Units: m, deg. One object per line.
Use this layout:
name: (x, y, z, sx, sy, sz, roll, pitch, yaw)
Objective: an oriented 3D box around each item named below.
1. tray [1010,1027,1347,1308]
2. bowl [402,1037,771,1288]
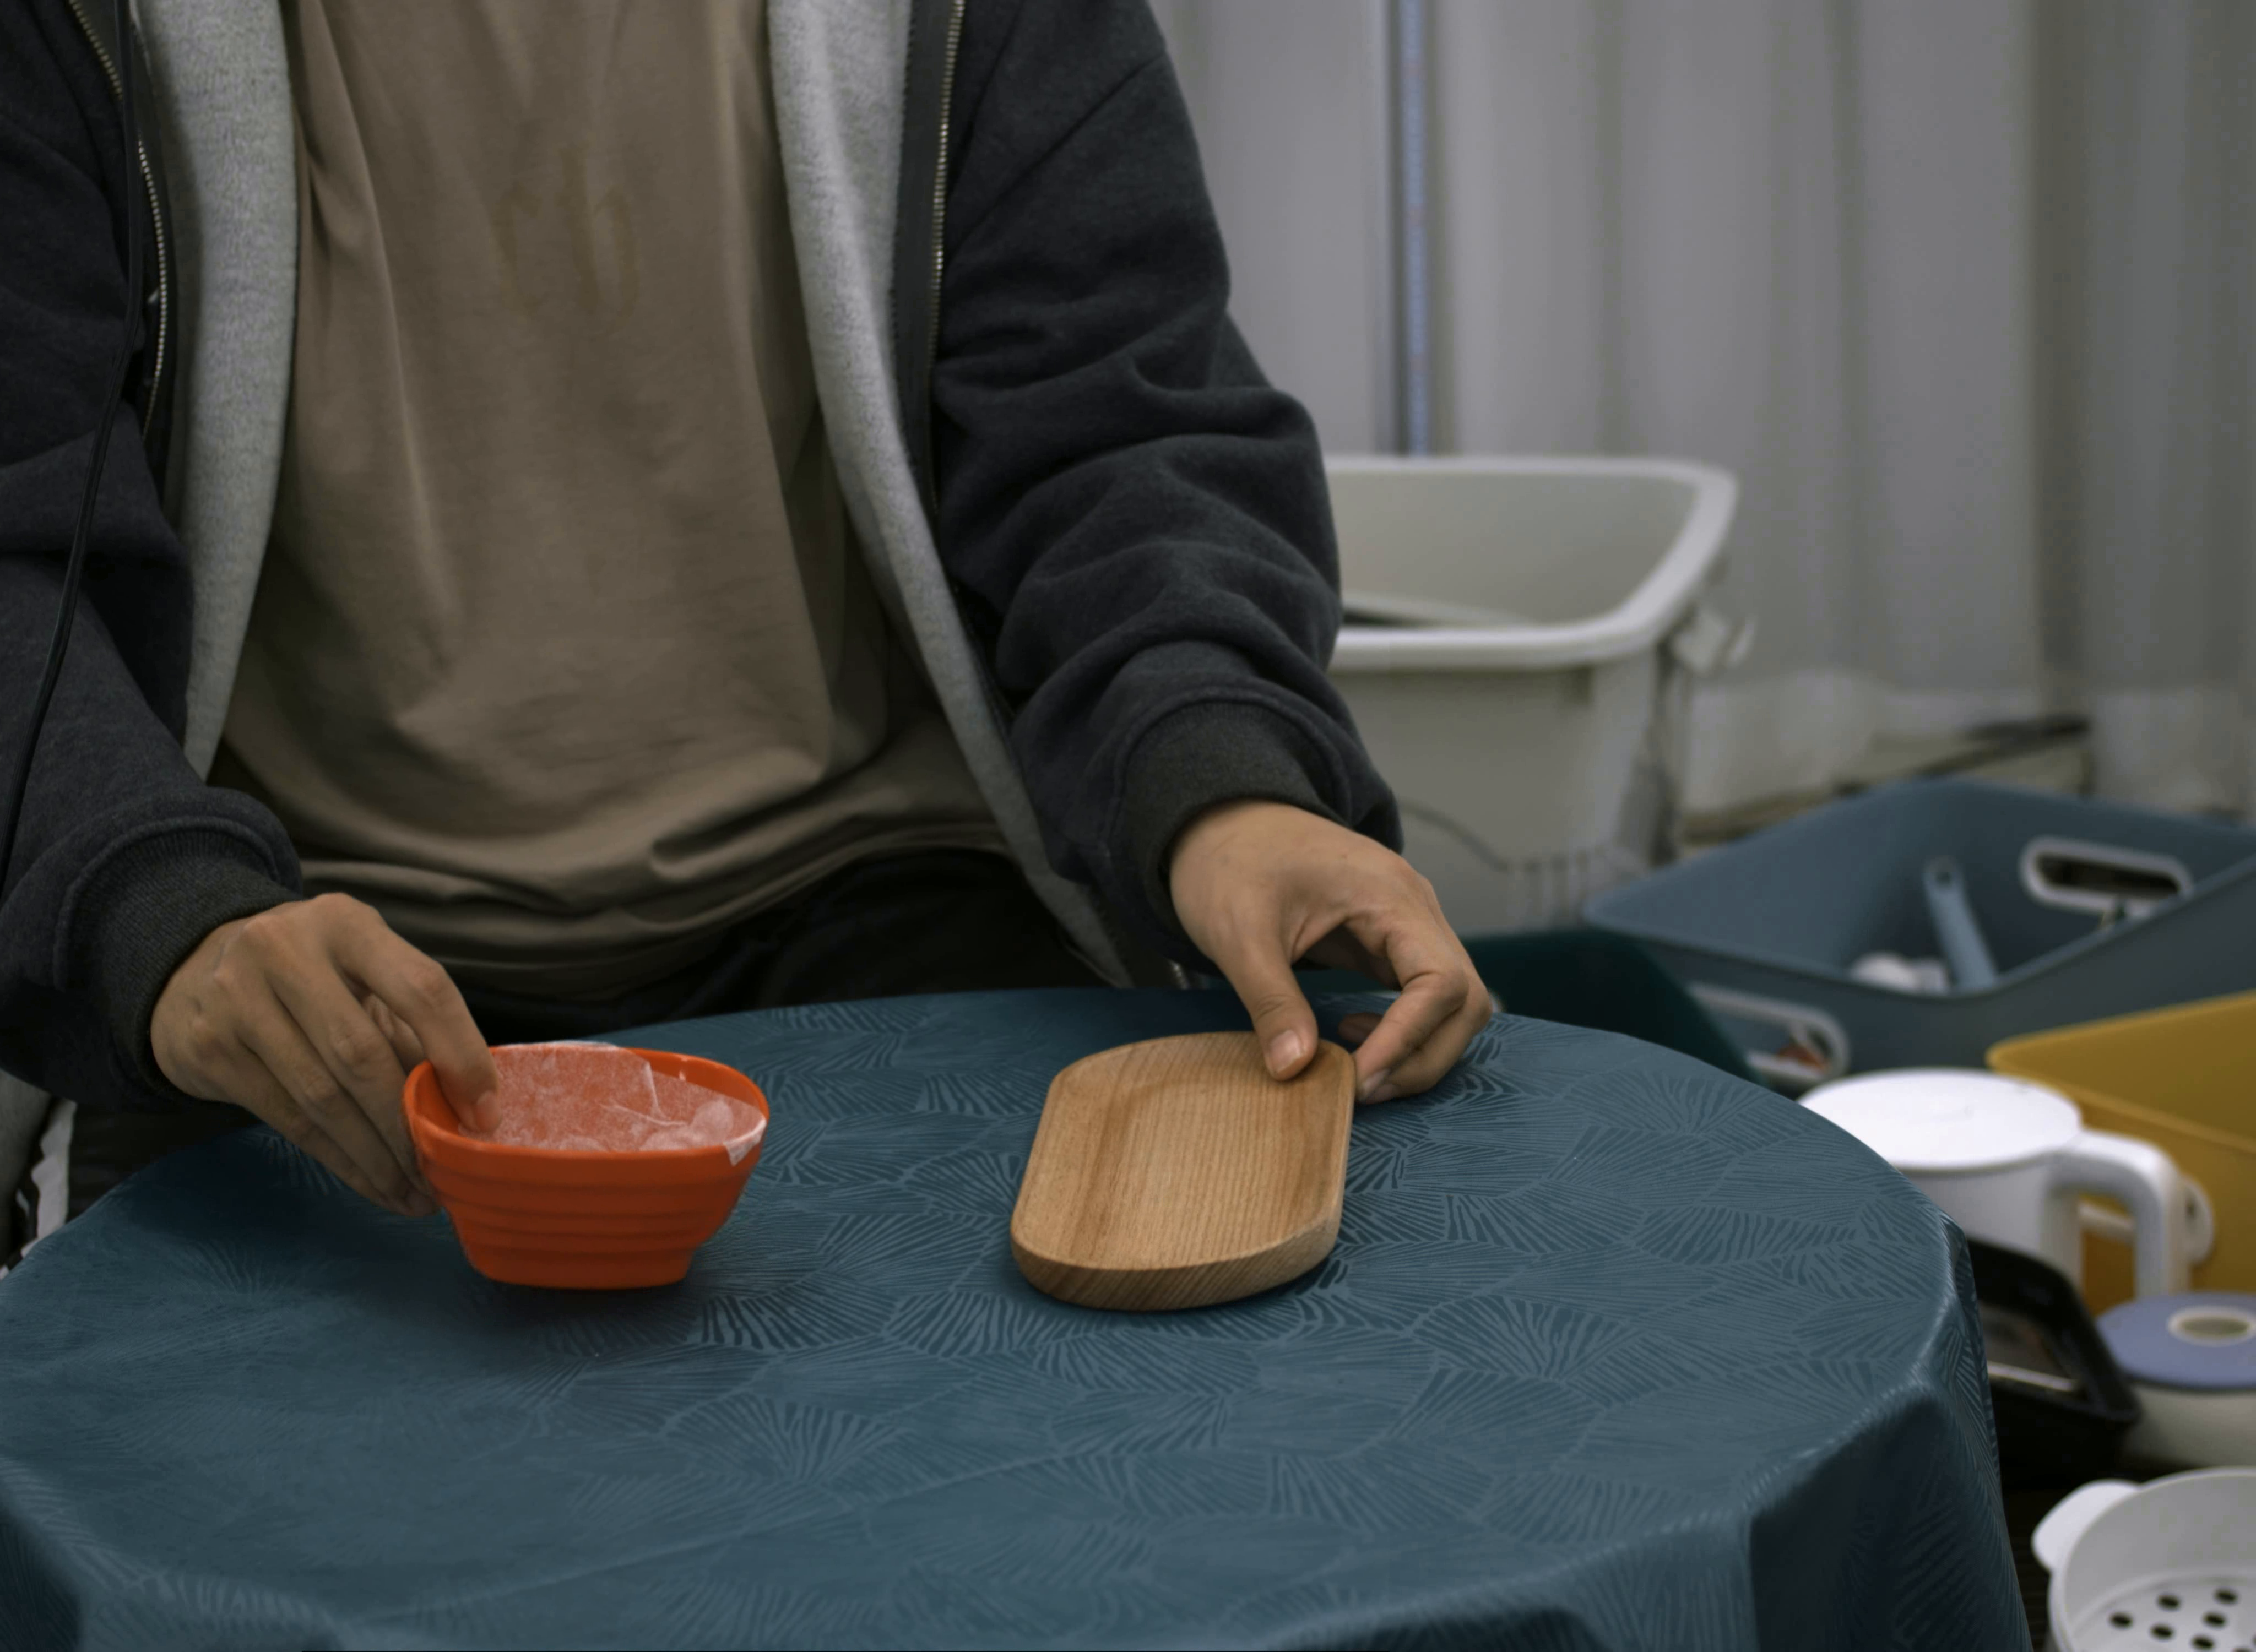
tray: (0.018, 0.105, 1.714, 0.101, 0.020, 0.232, -4, 14, 4)
bowl: (-0.164, 0.104, 1.652, 0.118, 0.051, 0.120, 3, 15, -1)
